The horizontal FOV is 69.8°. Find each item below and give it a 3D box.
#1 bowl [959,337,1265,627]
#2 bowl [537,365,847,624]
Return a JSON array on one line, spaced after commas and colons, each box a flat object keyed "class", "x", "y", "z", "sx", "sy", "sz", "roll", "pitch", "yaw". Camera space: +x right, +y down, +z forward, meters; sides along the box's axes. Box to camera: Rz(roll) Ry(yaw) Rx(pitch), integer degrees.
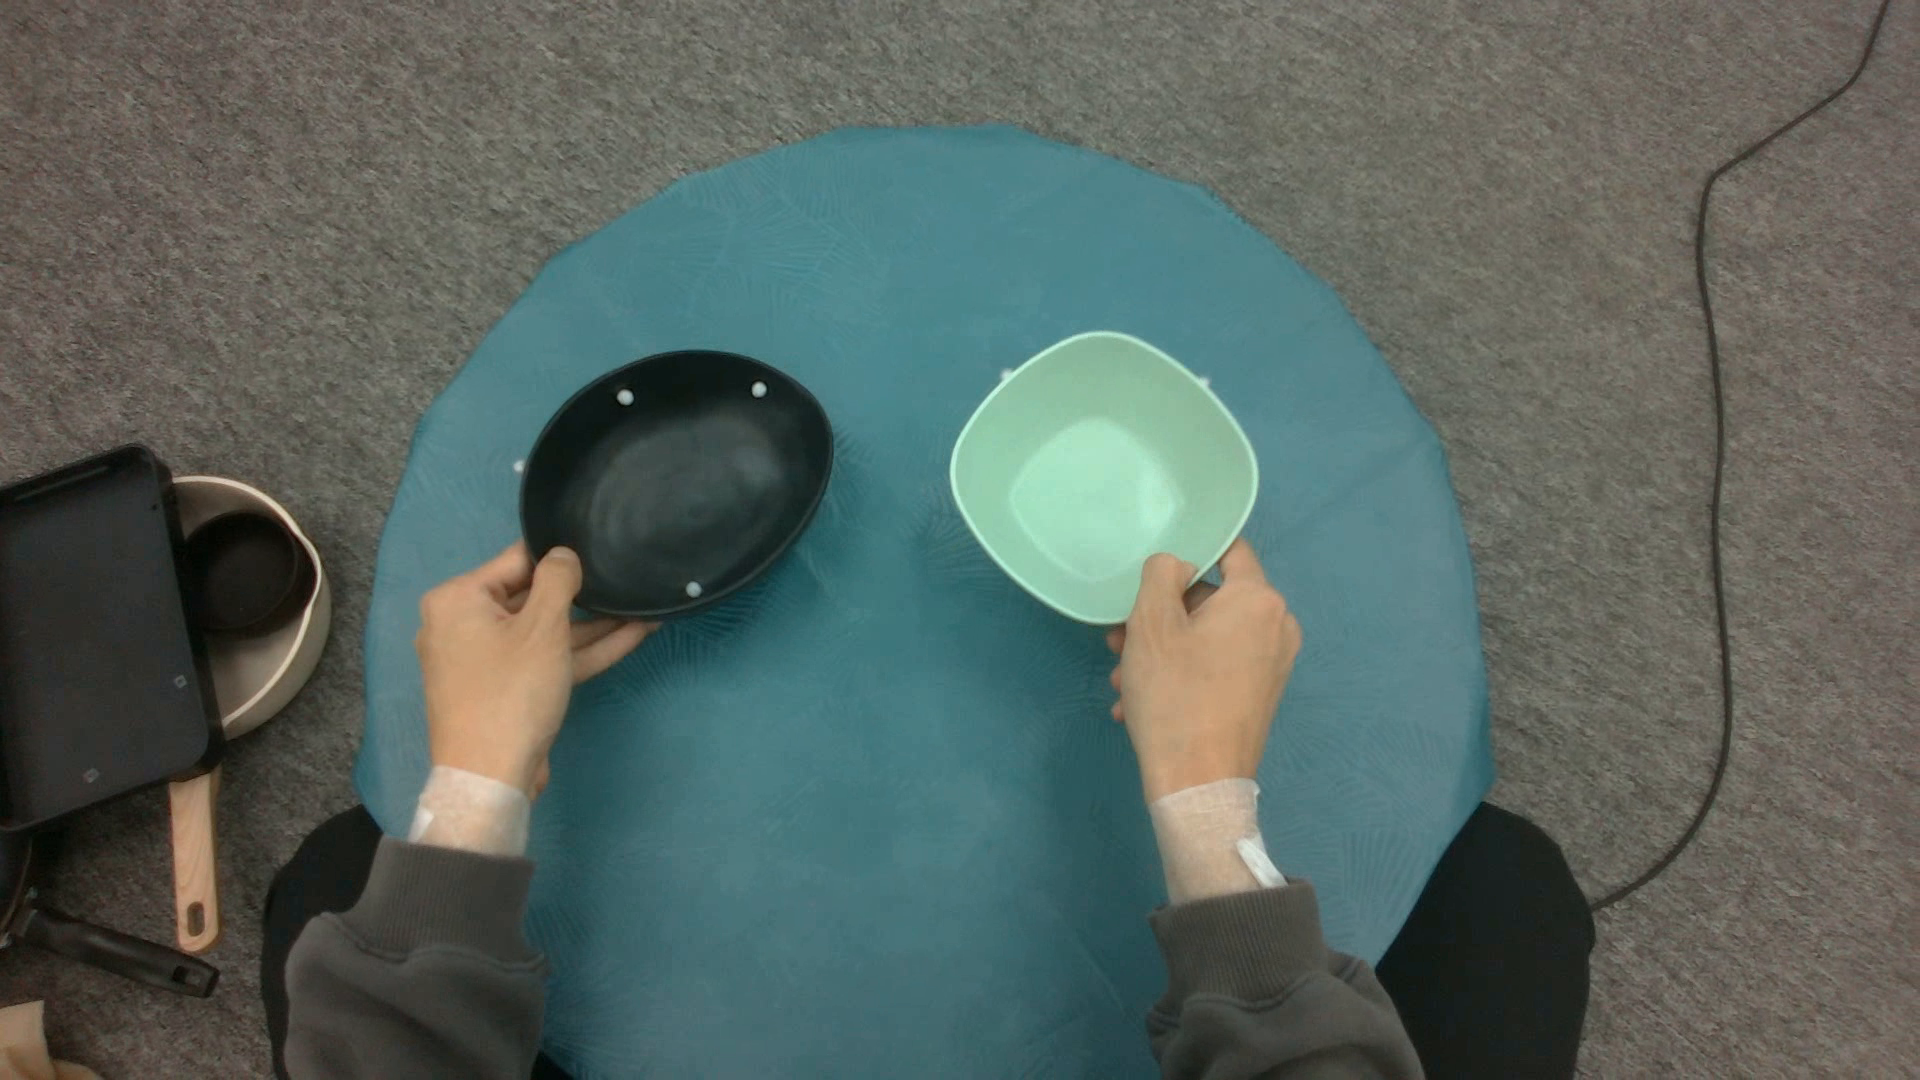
[{"class": "bowl", "x": 0.076, "y": -0.024, "z": 0.707, "sx": 0.151, "sy": 0.058, "sz": 0.152, "roll": -1, "pitch": 74, "yaw": 3}, {"class": "bowl", "x": -0.141, "y": -0.020, "z": 0.742, "sx": 0.171, "sy": 0.066, "sz": 0.137, "roll": -39, "pitch": 76, "yaw": -20}]
